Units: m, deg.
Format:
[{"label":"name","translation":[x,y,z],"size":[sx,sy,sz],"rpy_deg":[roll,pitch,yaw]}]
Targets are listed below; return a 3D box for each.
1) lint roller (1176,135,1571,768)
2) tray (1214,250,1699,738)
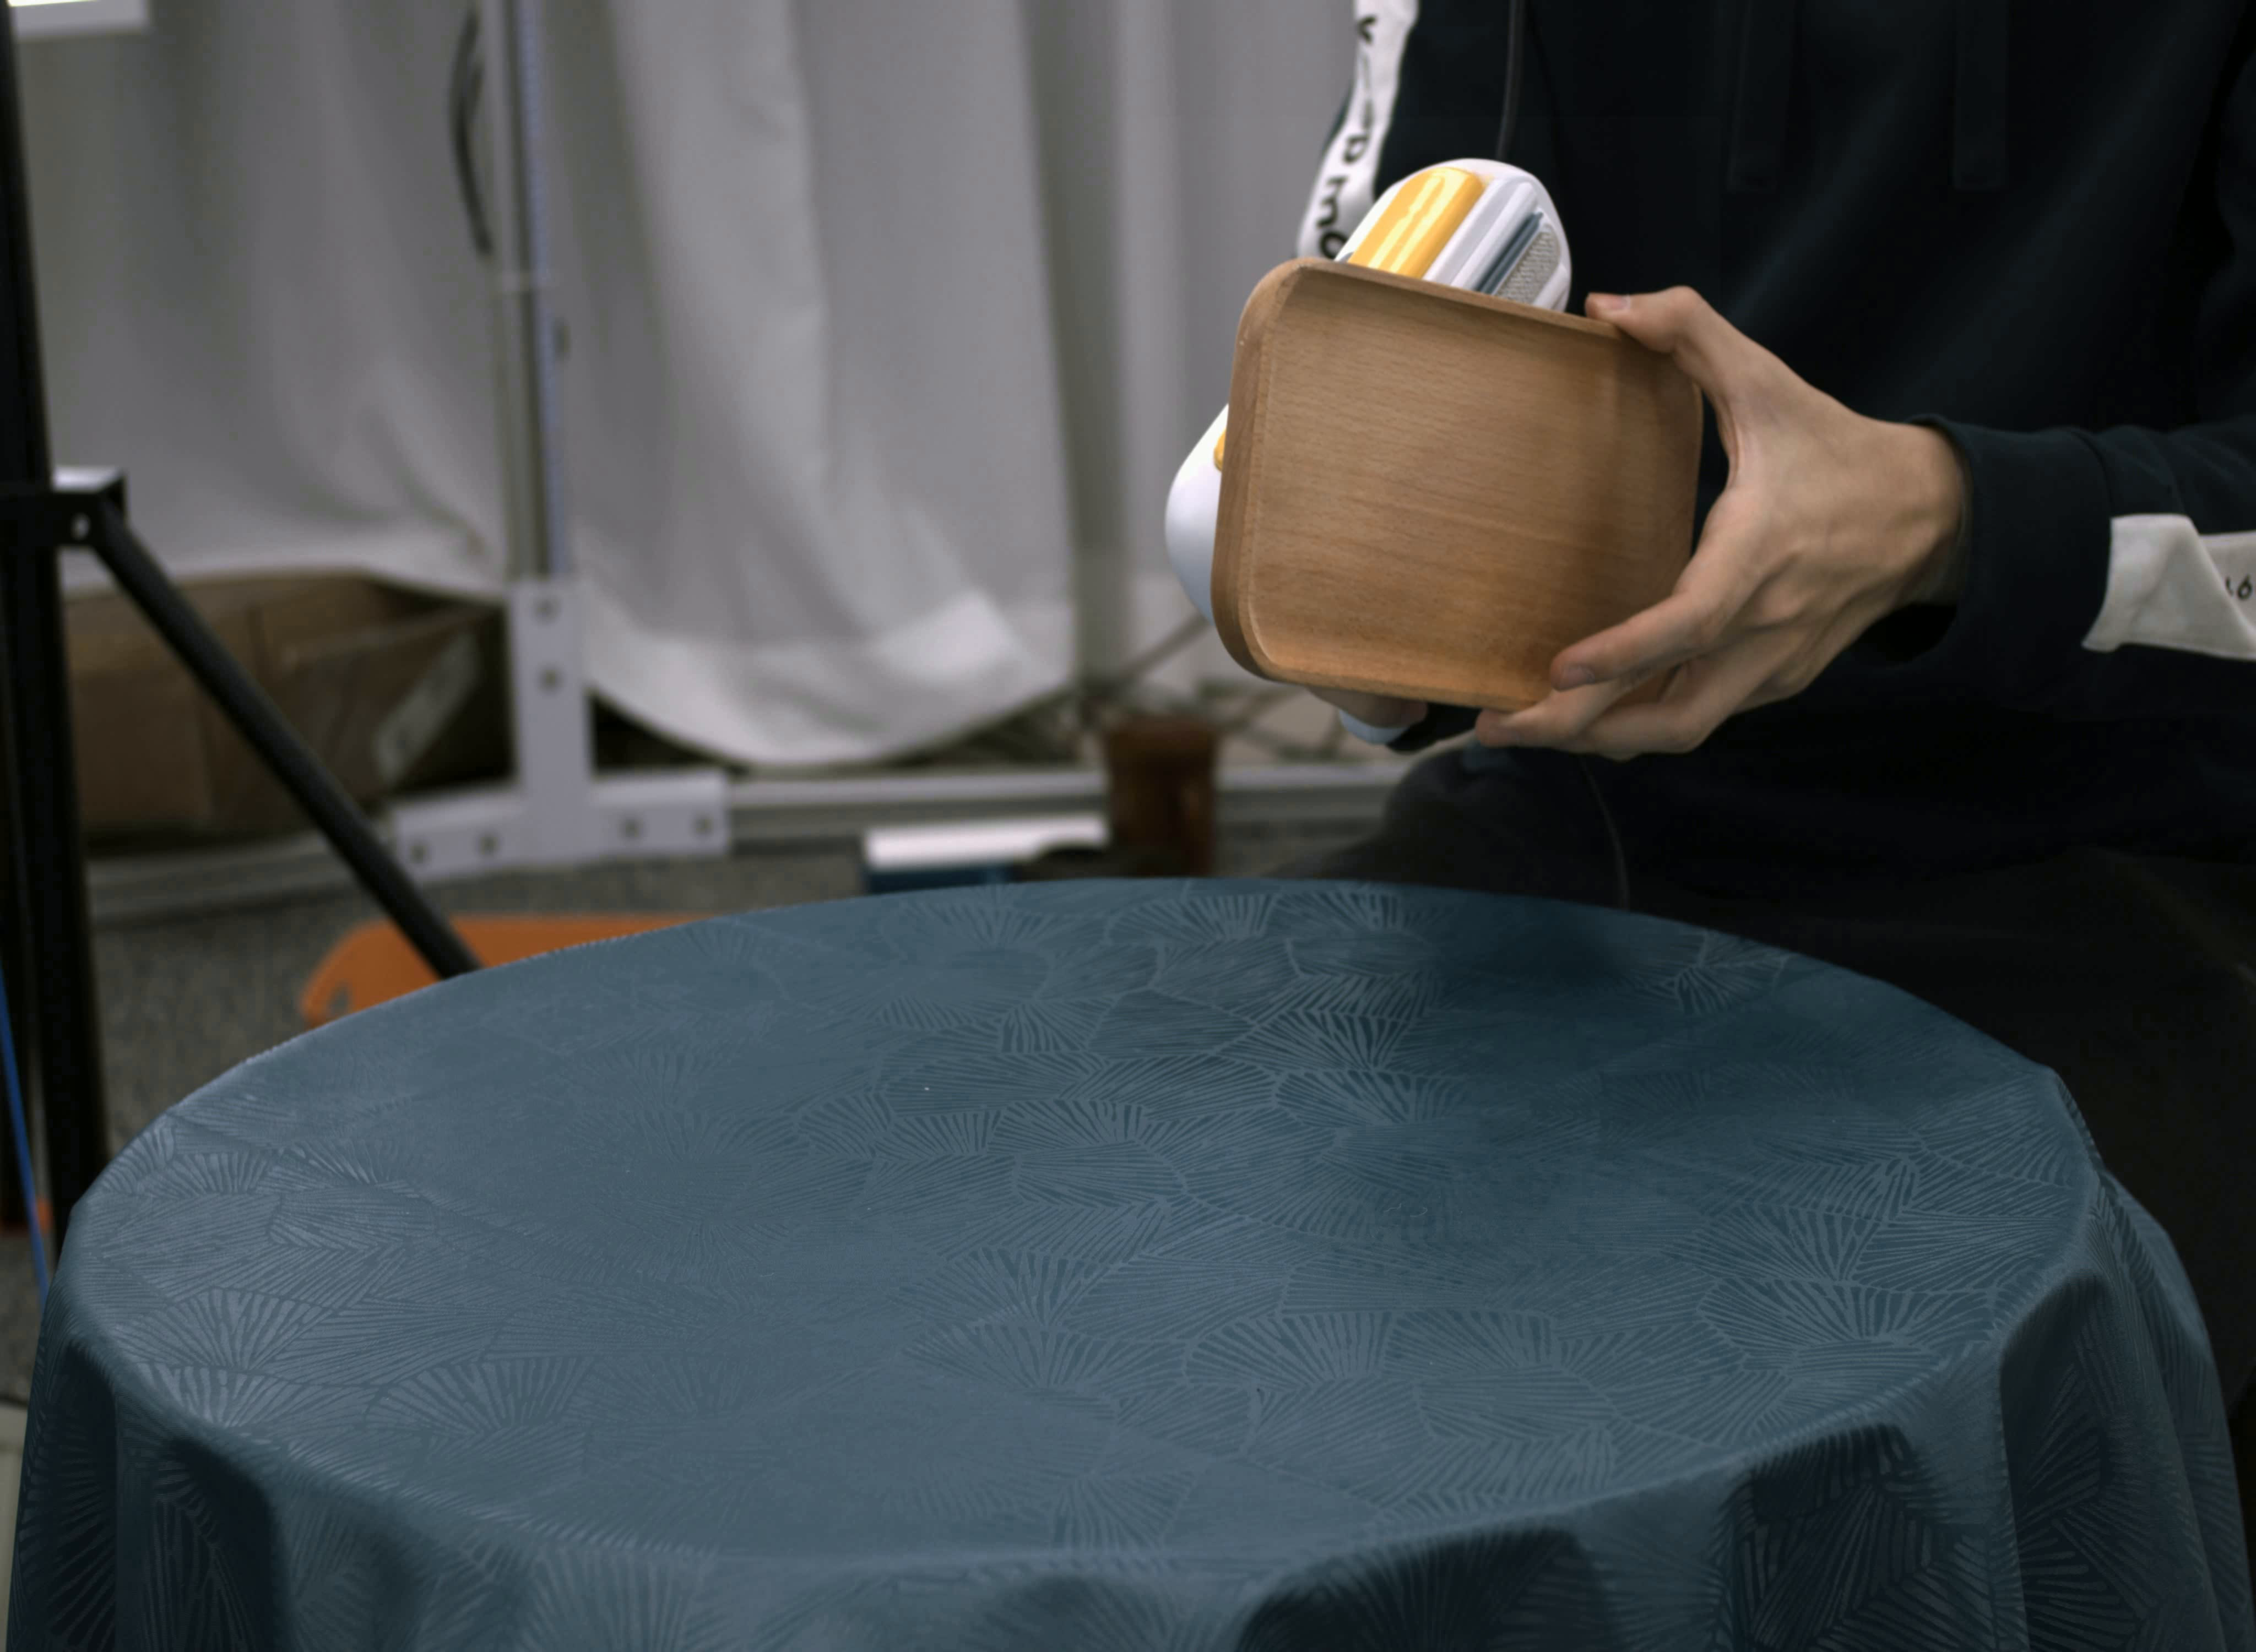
[{"label":"lint roller","translation":[0.085,-0.097,1.705],"size":[0.075,0.190,0.192],"rpy_deg":[8,44,28]},{"label":"tray","translation":[0.104,-0.099,1.641],"size":[0.023,0.131,0.244],"rpy_deg":[9,1,36]}]
